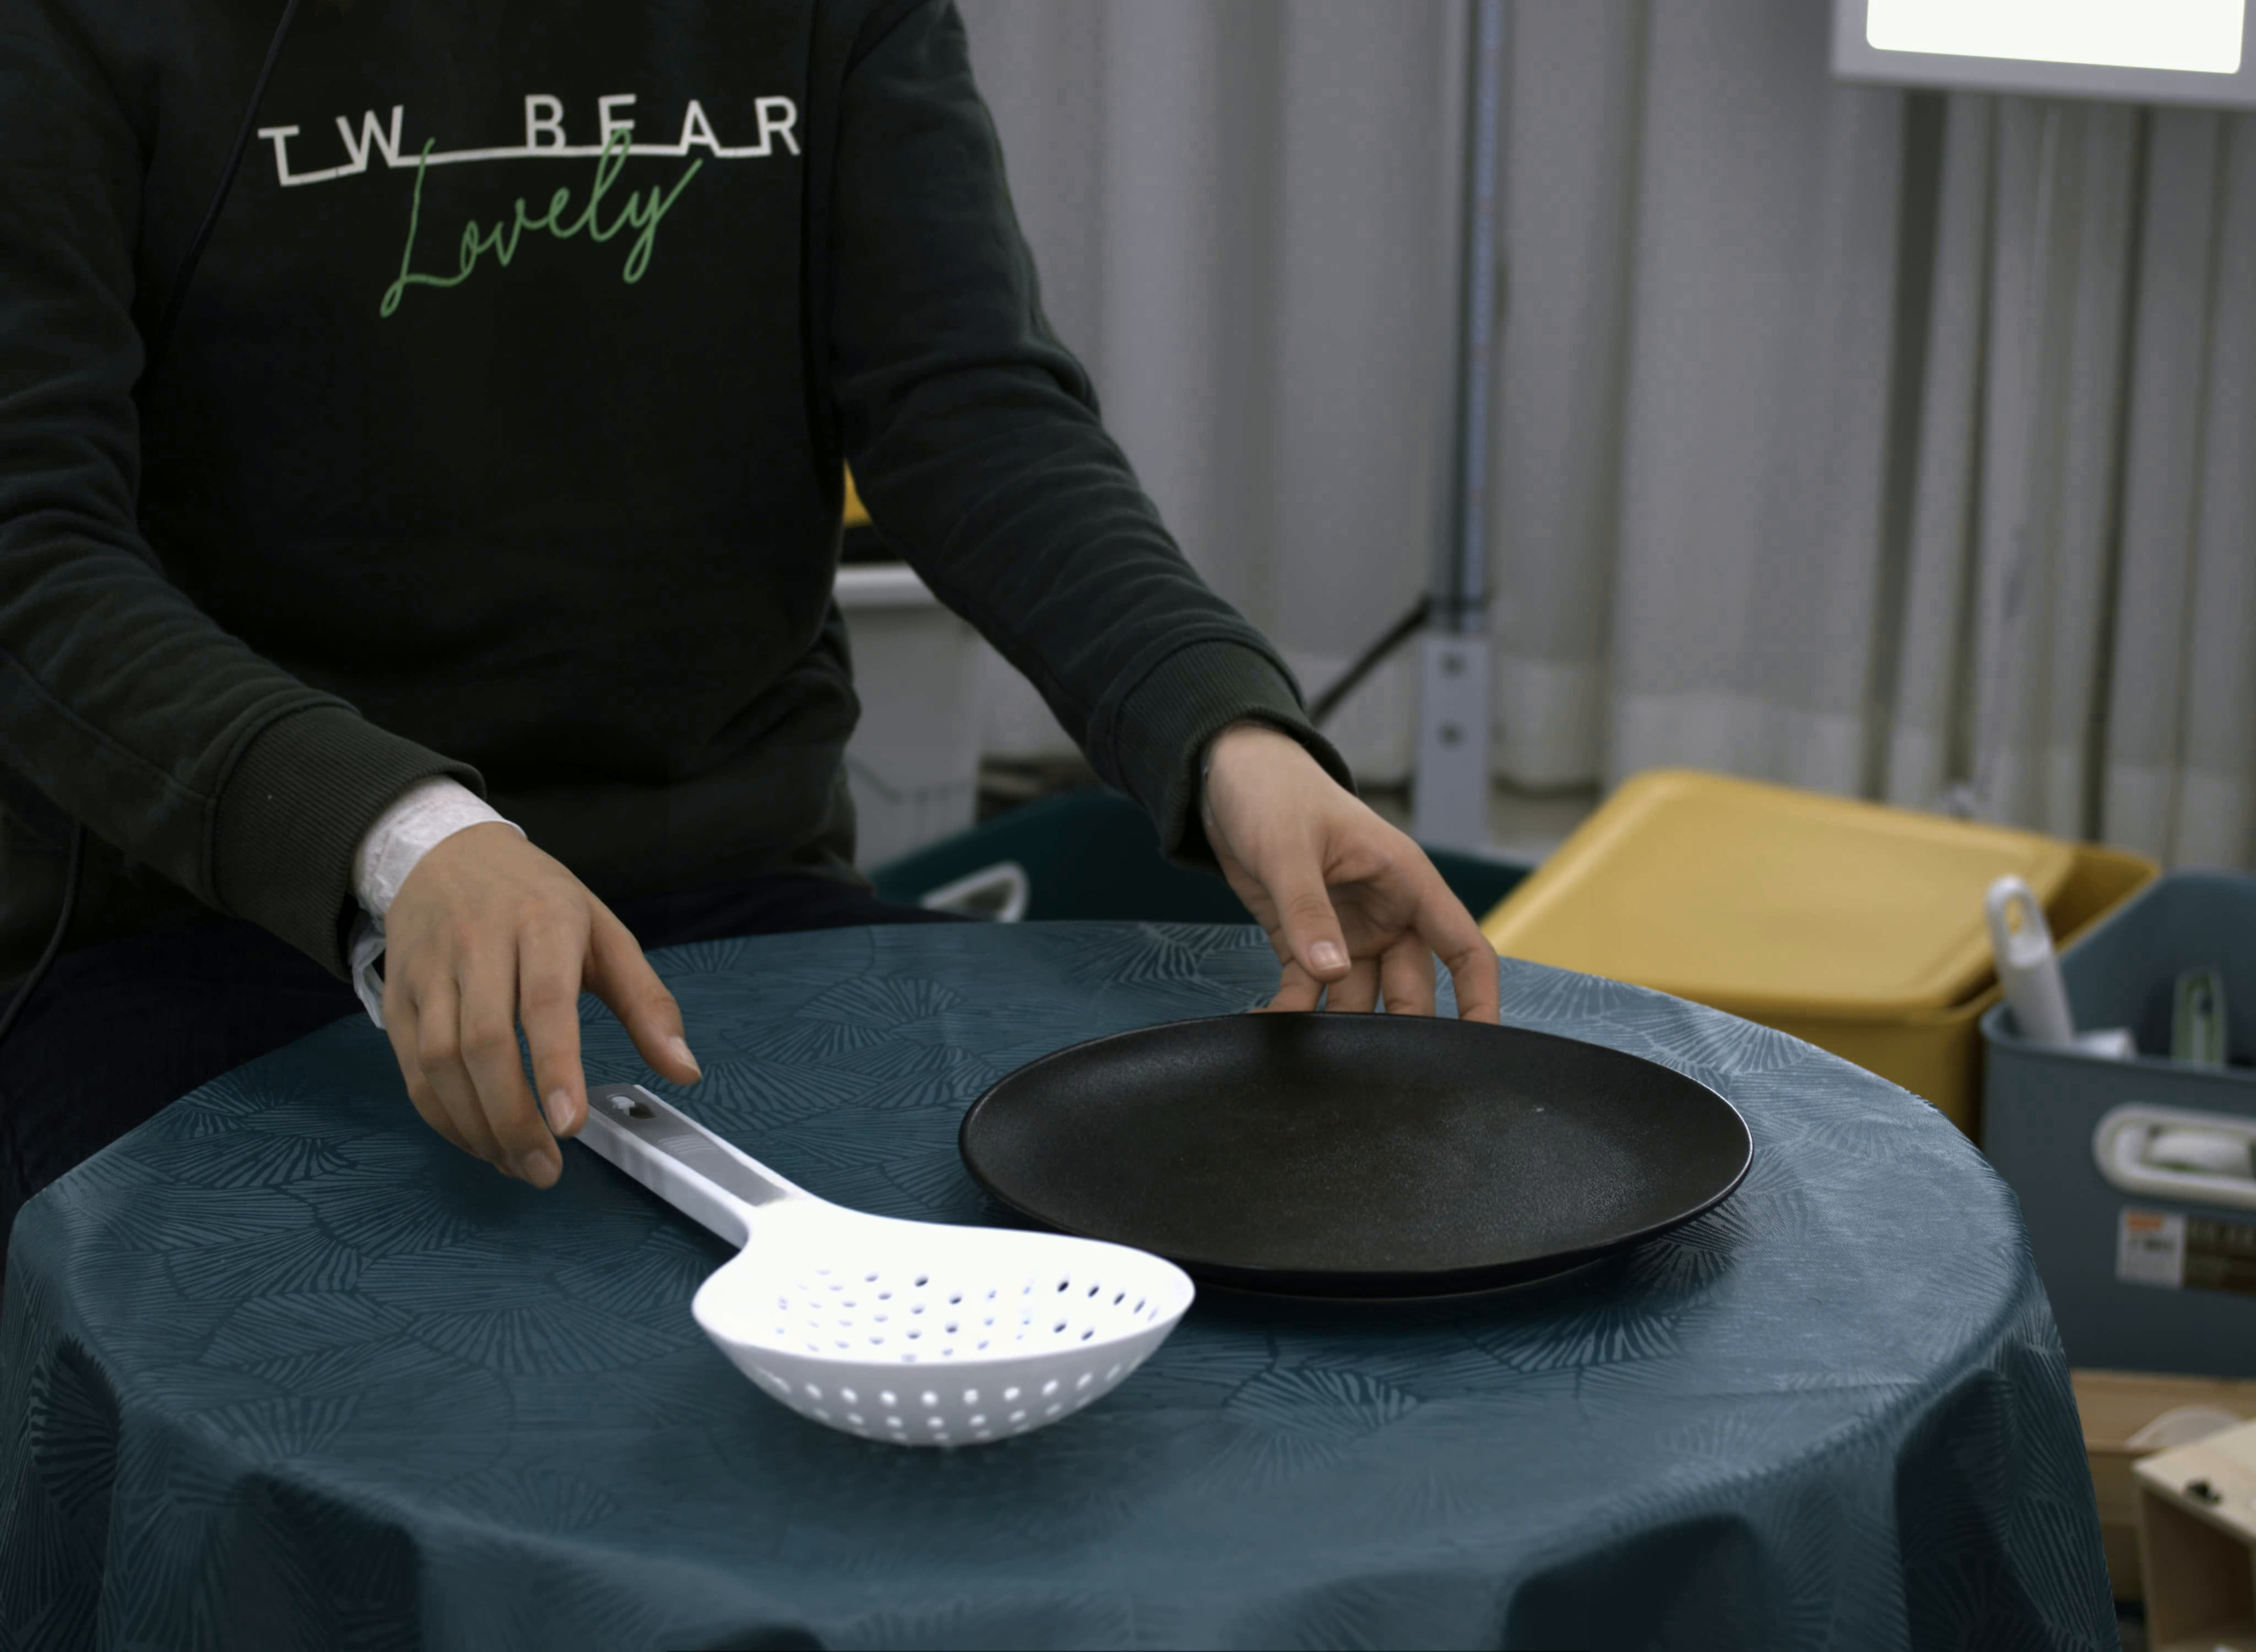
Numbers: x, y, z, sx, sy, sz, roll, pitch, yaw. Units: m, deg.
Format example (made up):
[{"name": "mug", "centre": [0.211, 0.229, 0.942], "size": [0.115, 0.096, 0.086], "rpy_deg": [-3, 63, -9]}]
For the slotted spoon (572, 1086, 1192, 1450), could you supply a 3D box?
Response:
[{"name": "slotted spoon", "centre": [-0.095, 0.118, 1.521], "size": [0.136, 0.046, 0.345], "rpy_deg": [-5, 16, -24]}]

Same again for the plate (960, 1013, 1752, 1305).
[{"name": "plate", "centre": [0.070, 0.104, 1.618], "size": [0.243, 0.023, 0.243], "rpy_deg": [1, 16, 0]}]
